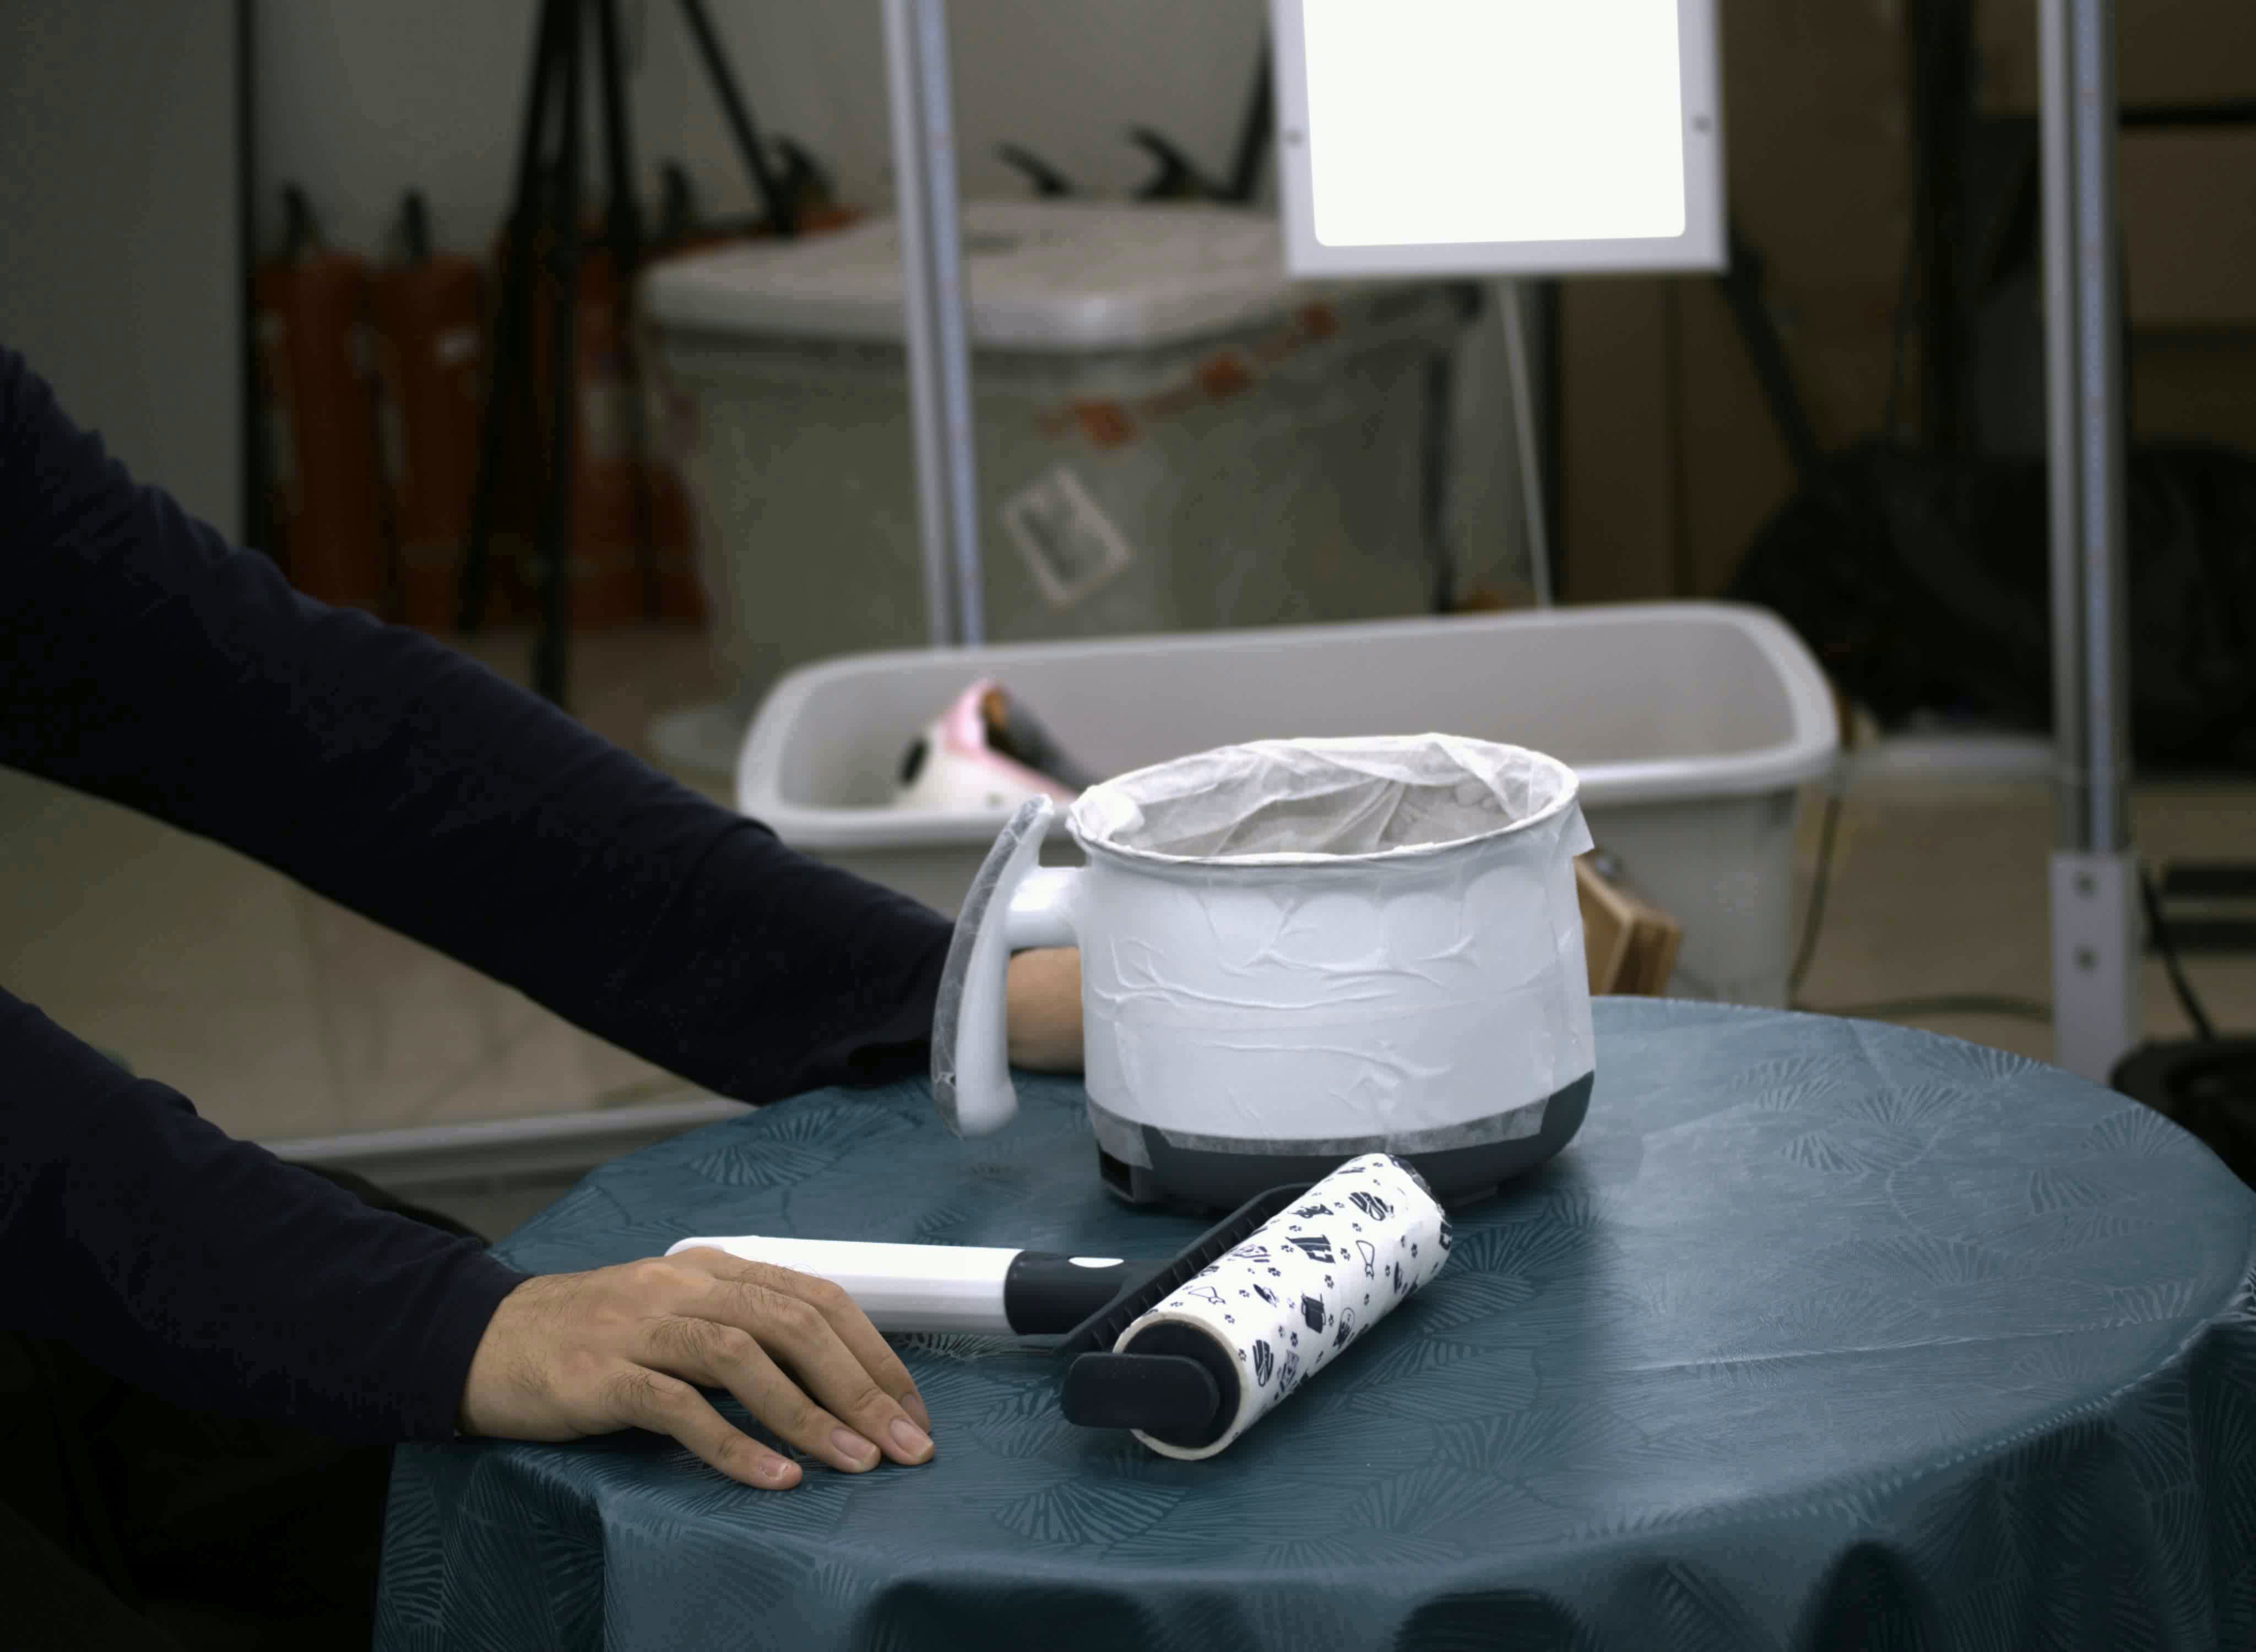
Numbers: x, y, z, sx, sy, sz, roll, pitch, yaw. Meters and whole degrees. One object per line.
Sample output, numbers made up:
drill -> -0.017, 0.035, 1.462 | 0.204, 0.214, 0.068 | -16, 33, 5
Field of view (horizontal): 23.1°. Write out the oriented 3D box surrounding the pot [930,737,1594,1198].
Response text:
pot -> 0.045, 0.048, 1.902 | 0.235, 0.137, 0.177 | 0, 11, 9

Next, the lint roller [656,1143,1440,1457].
lint roller -> -0.043, 0.146, 1.748 | 0.251, 0.050, 0.172 | -1, 15, 27
